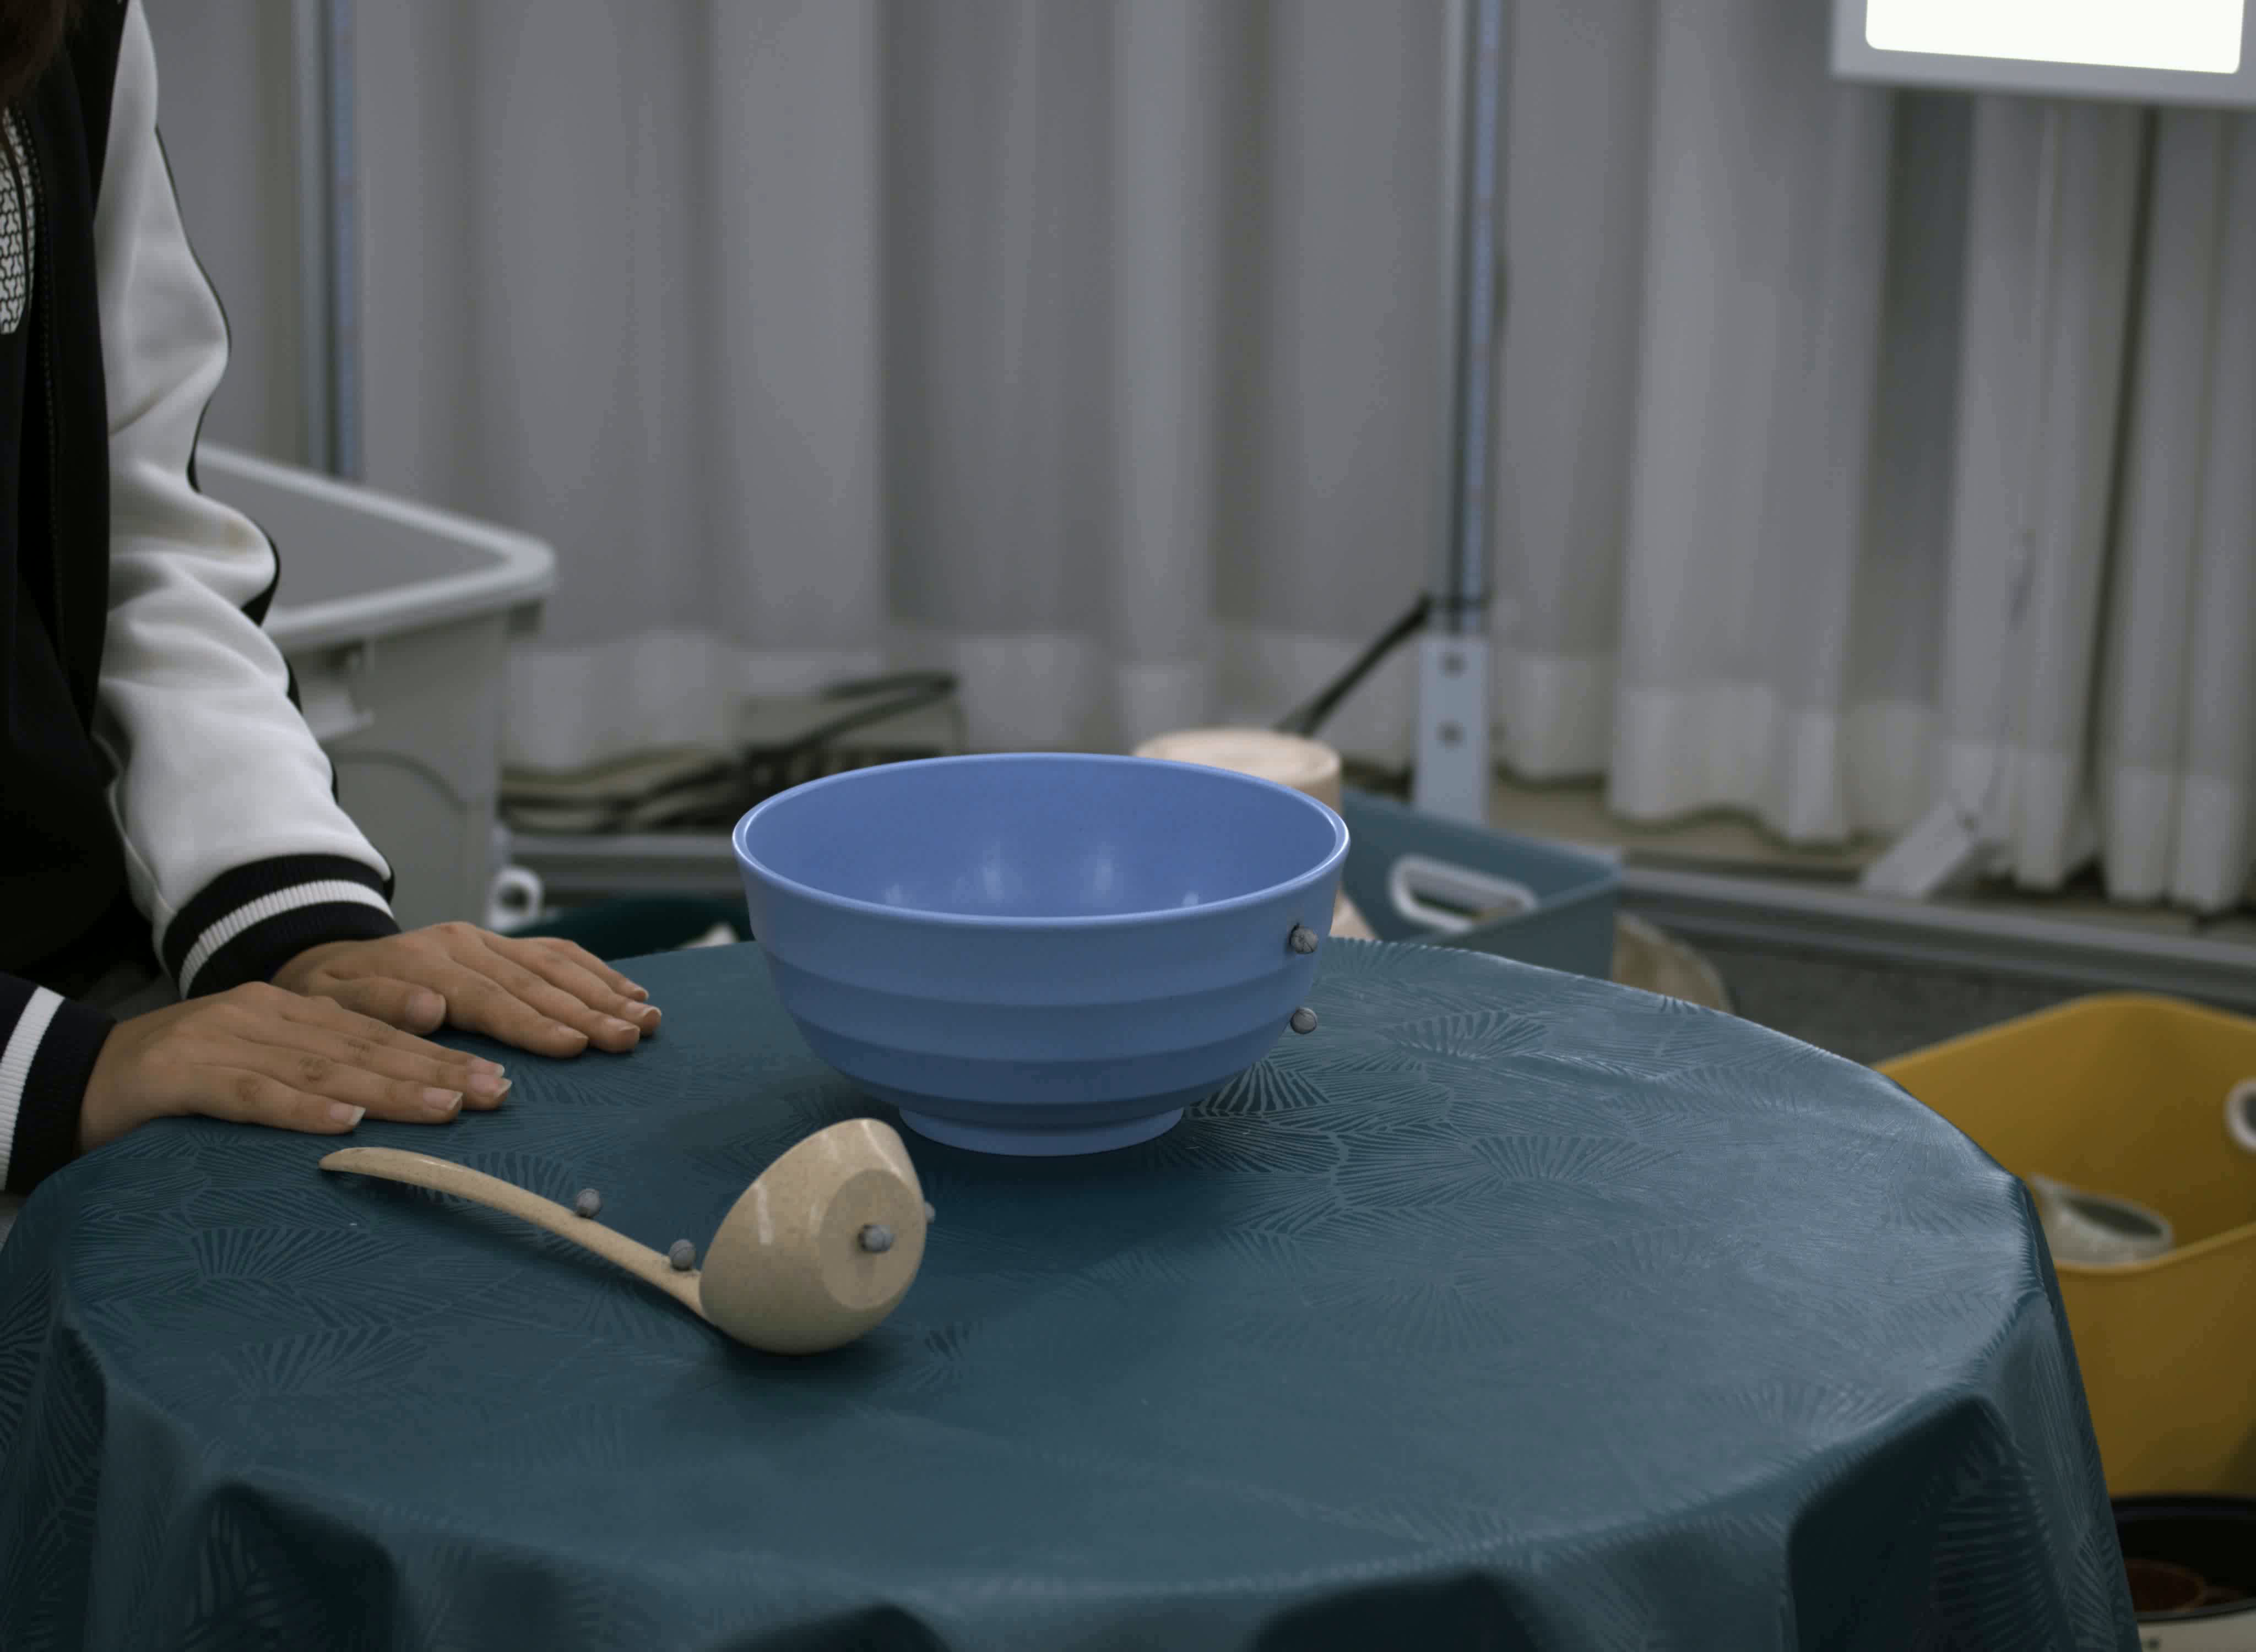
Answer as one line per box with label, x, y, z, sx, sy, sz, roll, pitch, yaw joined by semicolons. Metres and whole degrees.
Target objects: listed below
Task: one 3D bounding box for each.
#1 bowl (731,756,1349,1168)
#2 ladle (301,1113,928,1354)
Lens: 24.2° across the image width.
bowl;-0.027;0.049;1.682;0.196;0.096;0.195;0;17;1
ladle;-0.161;0.095;1.542;0.251;0.073;0.072;14;20;41
